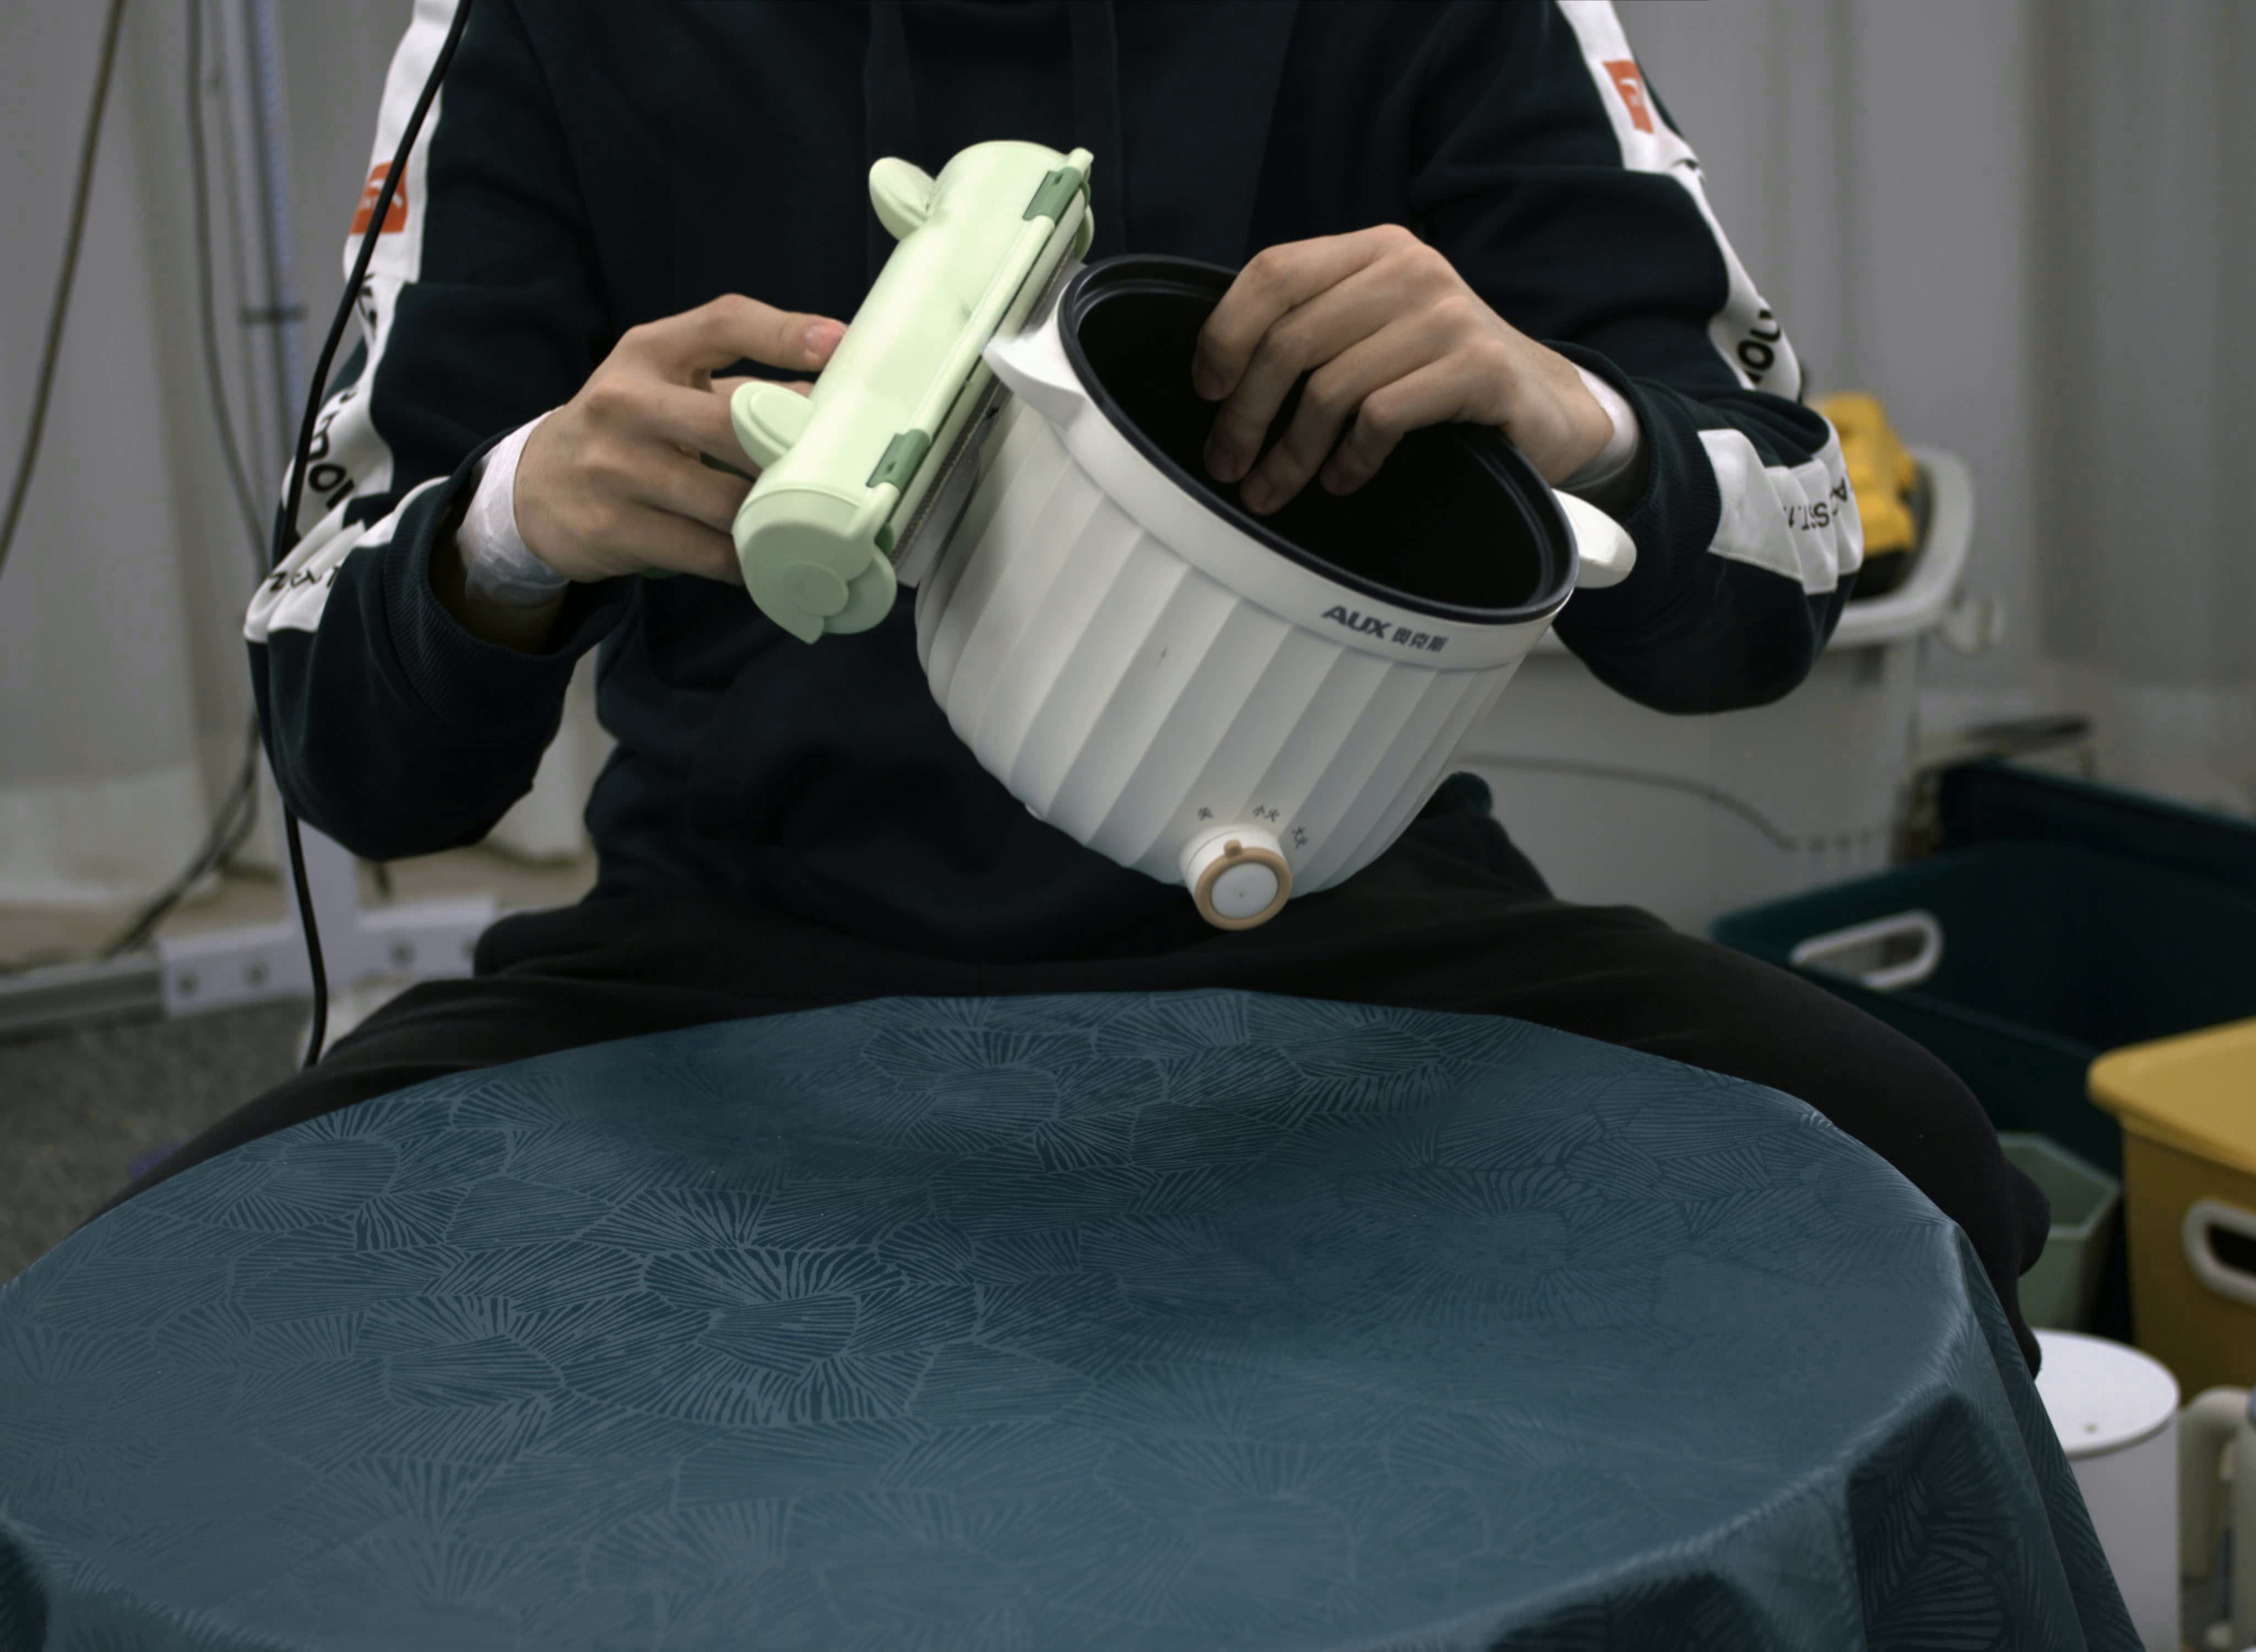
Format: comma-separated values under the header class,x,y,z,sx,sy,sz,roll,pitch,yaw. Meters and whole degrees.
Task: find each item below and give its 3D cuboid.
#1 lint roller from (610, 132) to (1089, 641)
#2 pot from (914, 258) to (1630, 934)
class,x,y,z,sx,sy,sz,roll,pitch,yaw
lint roller,-0.112,-0.134,1.730,0.183,0.081,0.201,-15,34,36
pot,0.031,-0.066,1.704,0.238,0.142,0.193,15,28,-27
